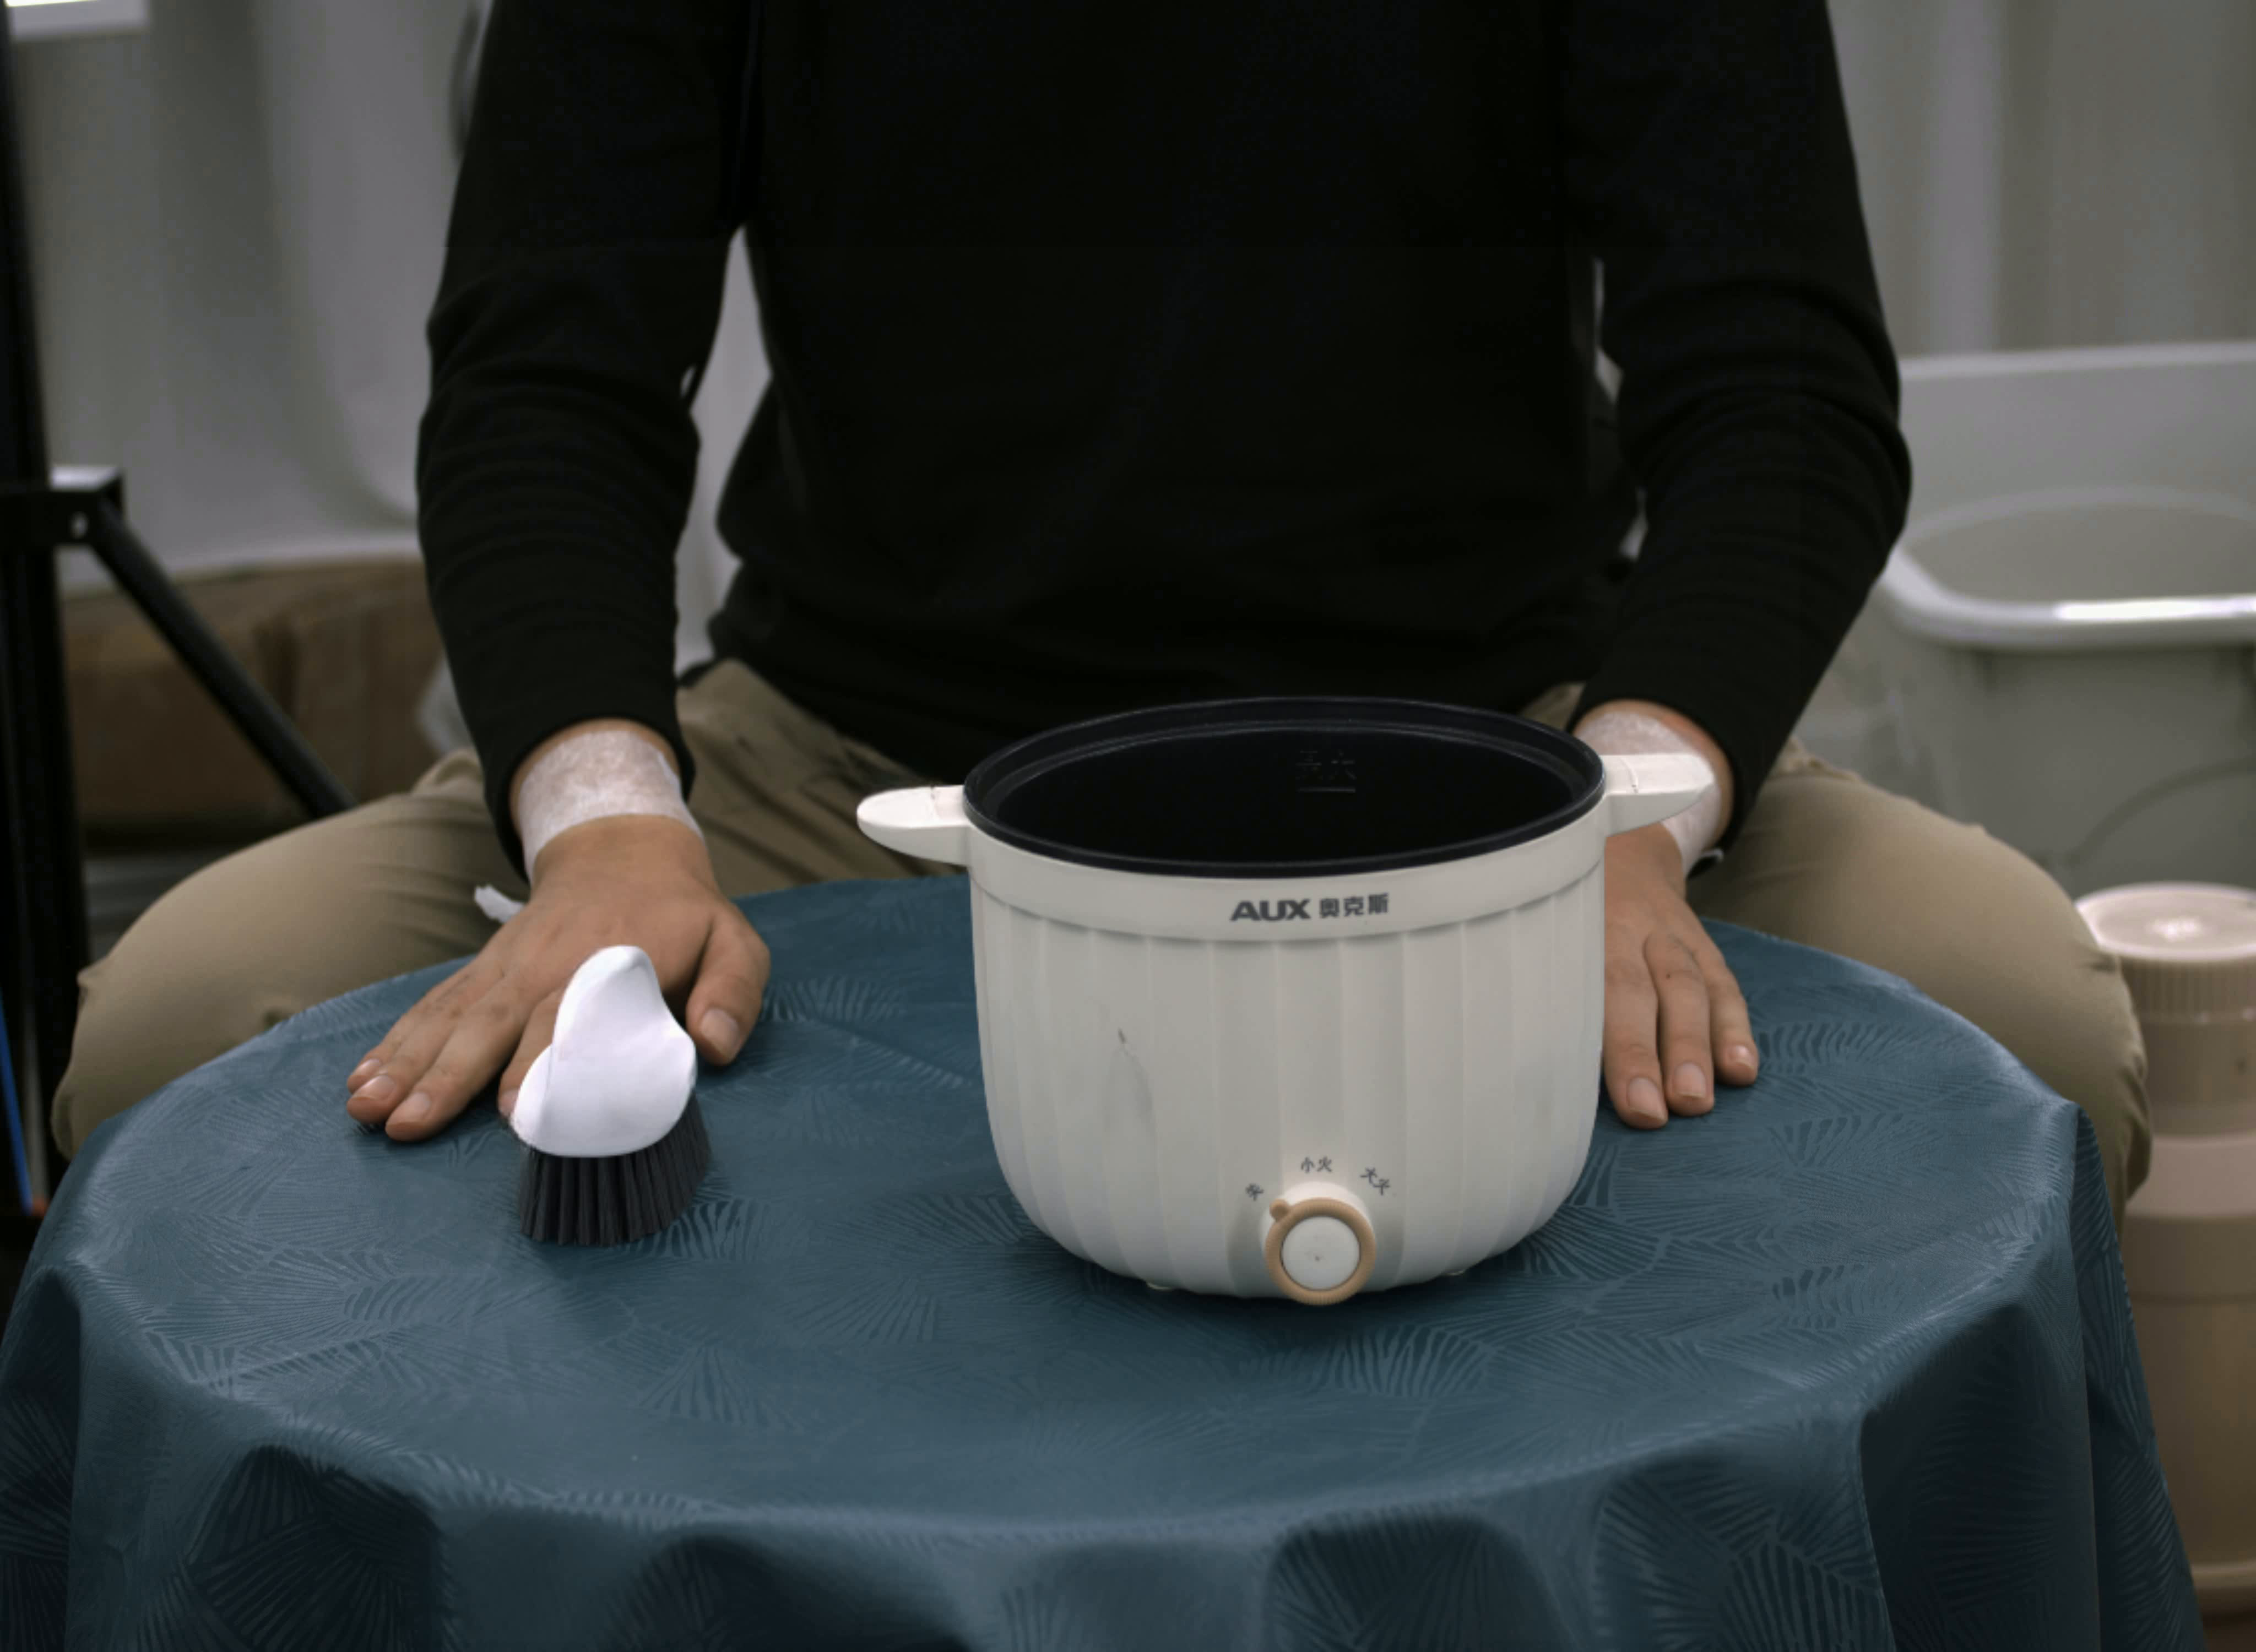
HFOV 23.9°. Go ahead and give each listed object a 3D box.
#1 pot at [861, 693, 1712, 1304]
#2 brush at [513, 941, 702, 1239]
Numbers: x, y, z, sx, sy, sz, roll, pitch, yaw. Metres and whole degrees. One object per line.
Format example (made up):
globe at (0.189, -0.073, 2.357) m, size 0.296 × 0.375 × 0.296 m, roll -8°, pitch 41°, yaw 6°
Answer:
pot at (0.048, 0.051, 1.498) m, size 0.239 × 0.143 × 0.191 m, roll -4°, pitch 13°, yaw -1°
brush at (-0.154, 0.073, 1.574) m, size 0.050 × 0.072 × 0.099 m, roll 0°, pitch 16°, yaw 5°
